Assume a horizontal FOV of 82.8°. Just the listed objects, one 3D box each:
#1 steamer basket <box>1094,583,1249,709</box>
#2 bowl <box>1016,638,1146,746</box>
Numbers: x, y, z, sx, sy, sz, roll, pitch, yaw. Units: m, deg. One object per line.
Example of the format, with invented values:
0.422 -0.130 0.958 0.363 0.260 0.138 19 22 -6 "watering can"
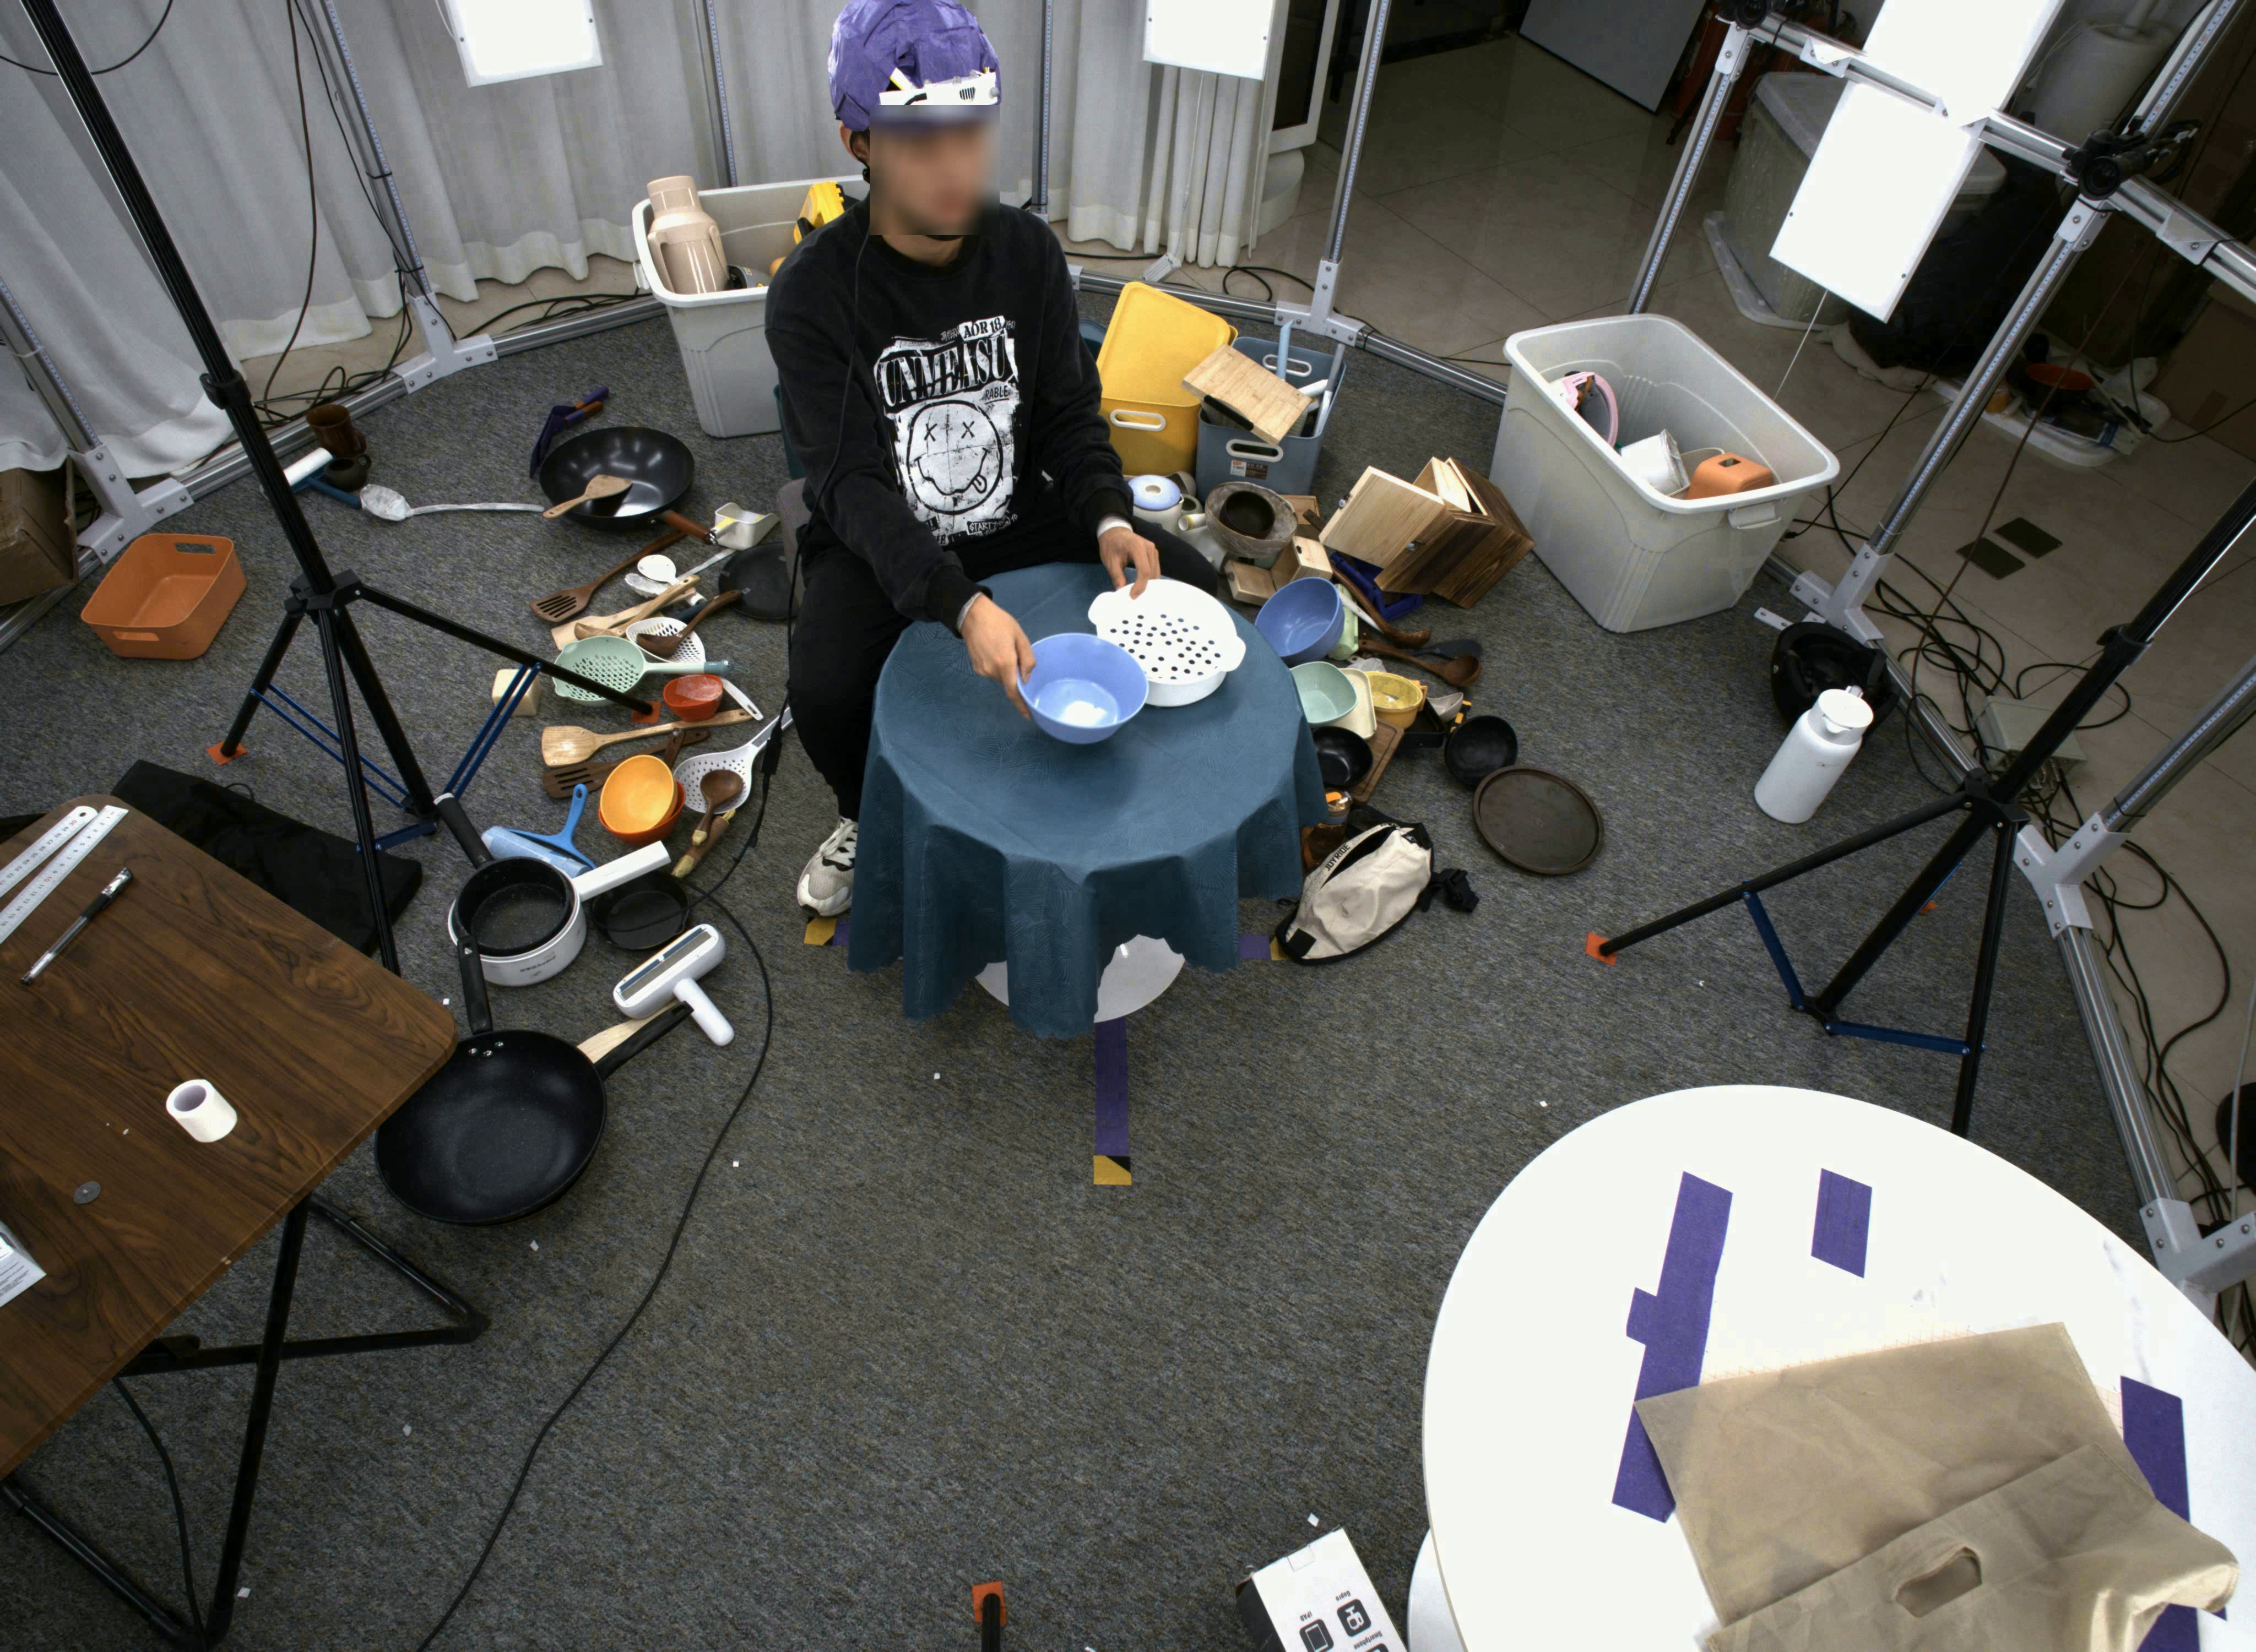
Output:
0.058 -0.260 1.864 0.231 0.068 0.206 22 53 6 "steamer basket"
-0.068 -0.171 1.734 0.175 0.069 0.180 6 48 -7 "bowl"
